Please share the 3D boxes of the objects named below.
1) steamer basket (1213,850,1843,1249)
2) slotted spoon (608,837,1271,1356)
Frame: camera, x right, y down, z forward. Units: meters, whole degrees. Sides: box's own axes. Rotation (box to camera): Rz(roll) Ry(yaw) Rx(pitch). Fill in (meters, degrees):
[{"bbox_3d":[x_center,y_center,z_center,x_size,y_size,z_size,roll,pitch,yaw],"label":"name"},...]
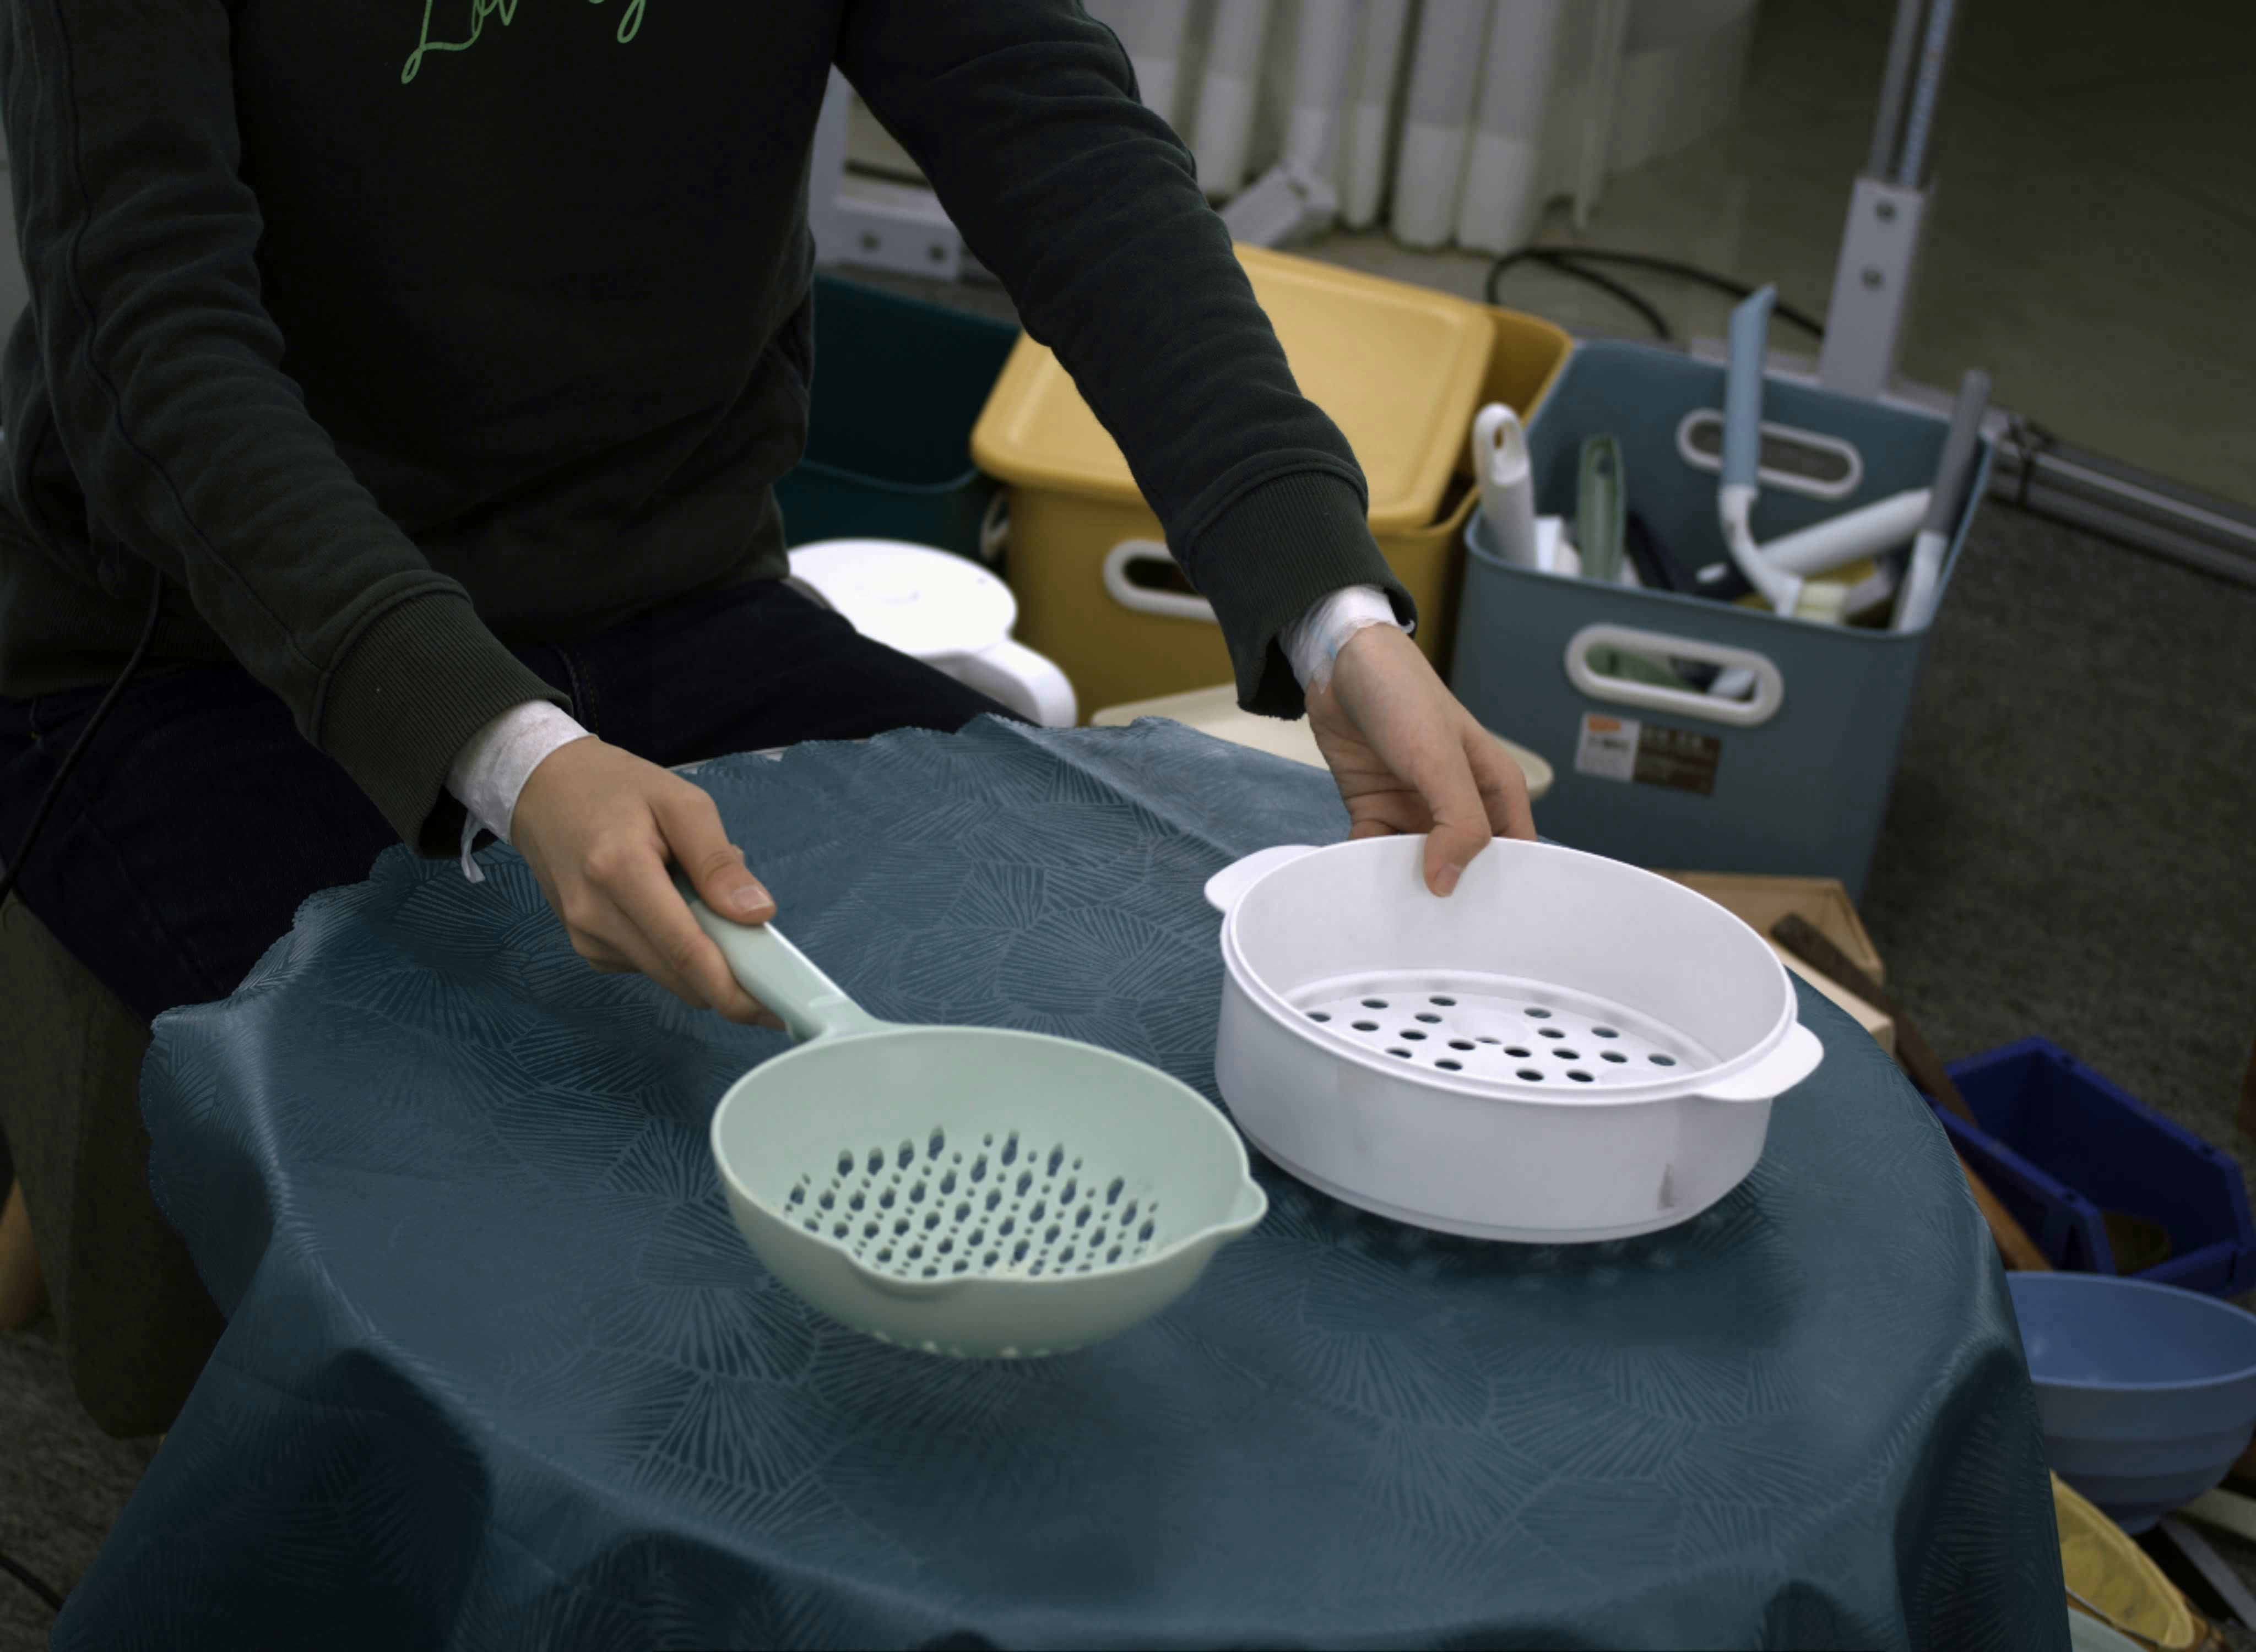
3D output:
[{"bbox_3d":[0.133,0.077,1.839,0.232,0.069,0.201,20,26,28],"label":"steamer basket"},{"bbox_3d":[-0.093,0.072,1.738,0.168,0.075,0.362,-7,34,-28],"label":"slotted spoon"}]
